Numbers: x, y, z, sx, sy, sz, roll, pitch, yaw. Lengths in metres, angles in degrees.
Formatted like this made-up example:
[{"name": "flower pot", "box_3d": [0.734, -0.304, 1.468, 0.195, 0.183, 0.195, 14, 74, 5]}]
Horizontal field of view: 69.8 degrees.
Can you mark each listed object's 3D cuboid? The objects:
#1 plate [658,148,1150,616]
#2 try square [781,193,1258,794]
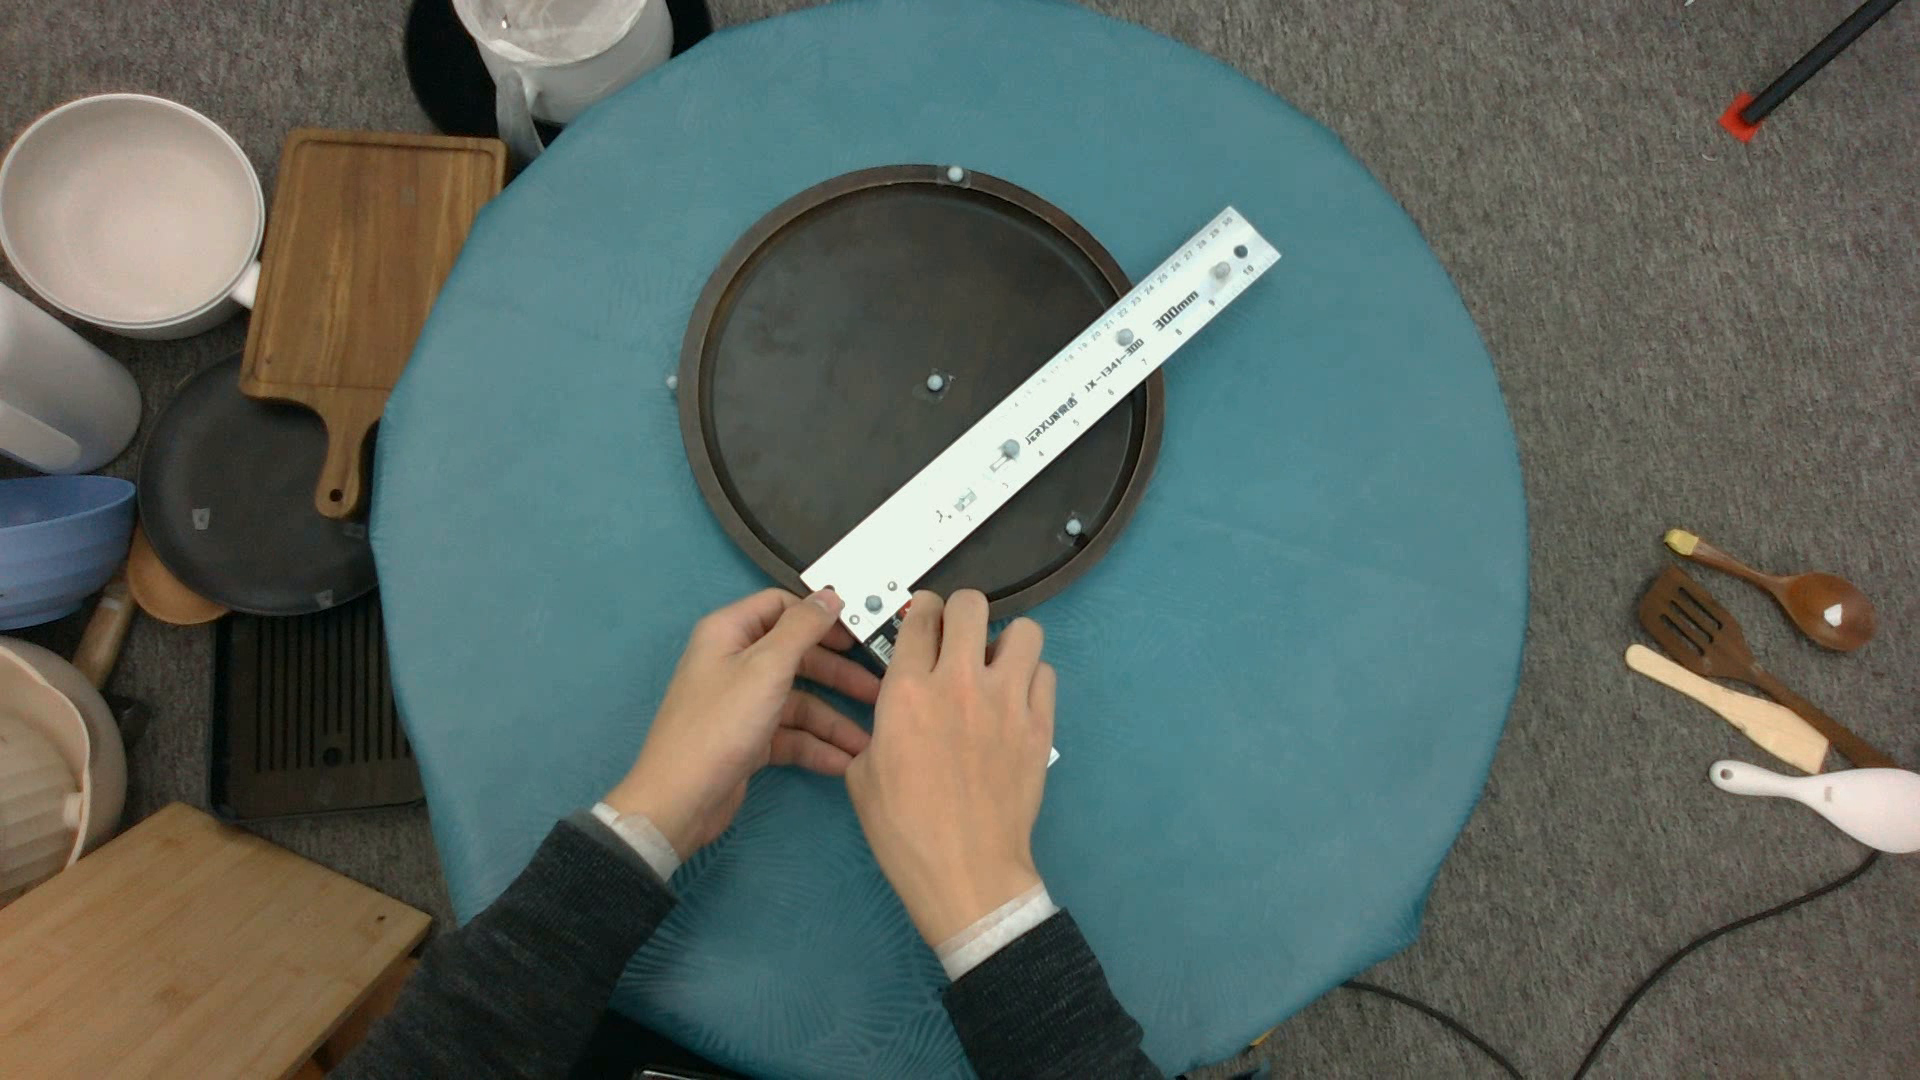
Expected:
[{"name": "plate", "box_3d": [-0.027, -0.084, 0.716, 0.255, 0.029, 0.255, 1, 76, -6]}, {"name": "try square", "box_3d": [0.073, -0.033, 0.702, 0.313, 0.016, 0.152, -42, 84, -14]}]
